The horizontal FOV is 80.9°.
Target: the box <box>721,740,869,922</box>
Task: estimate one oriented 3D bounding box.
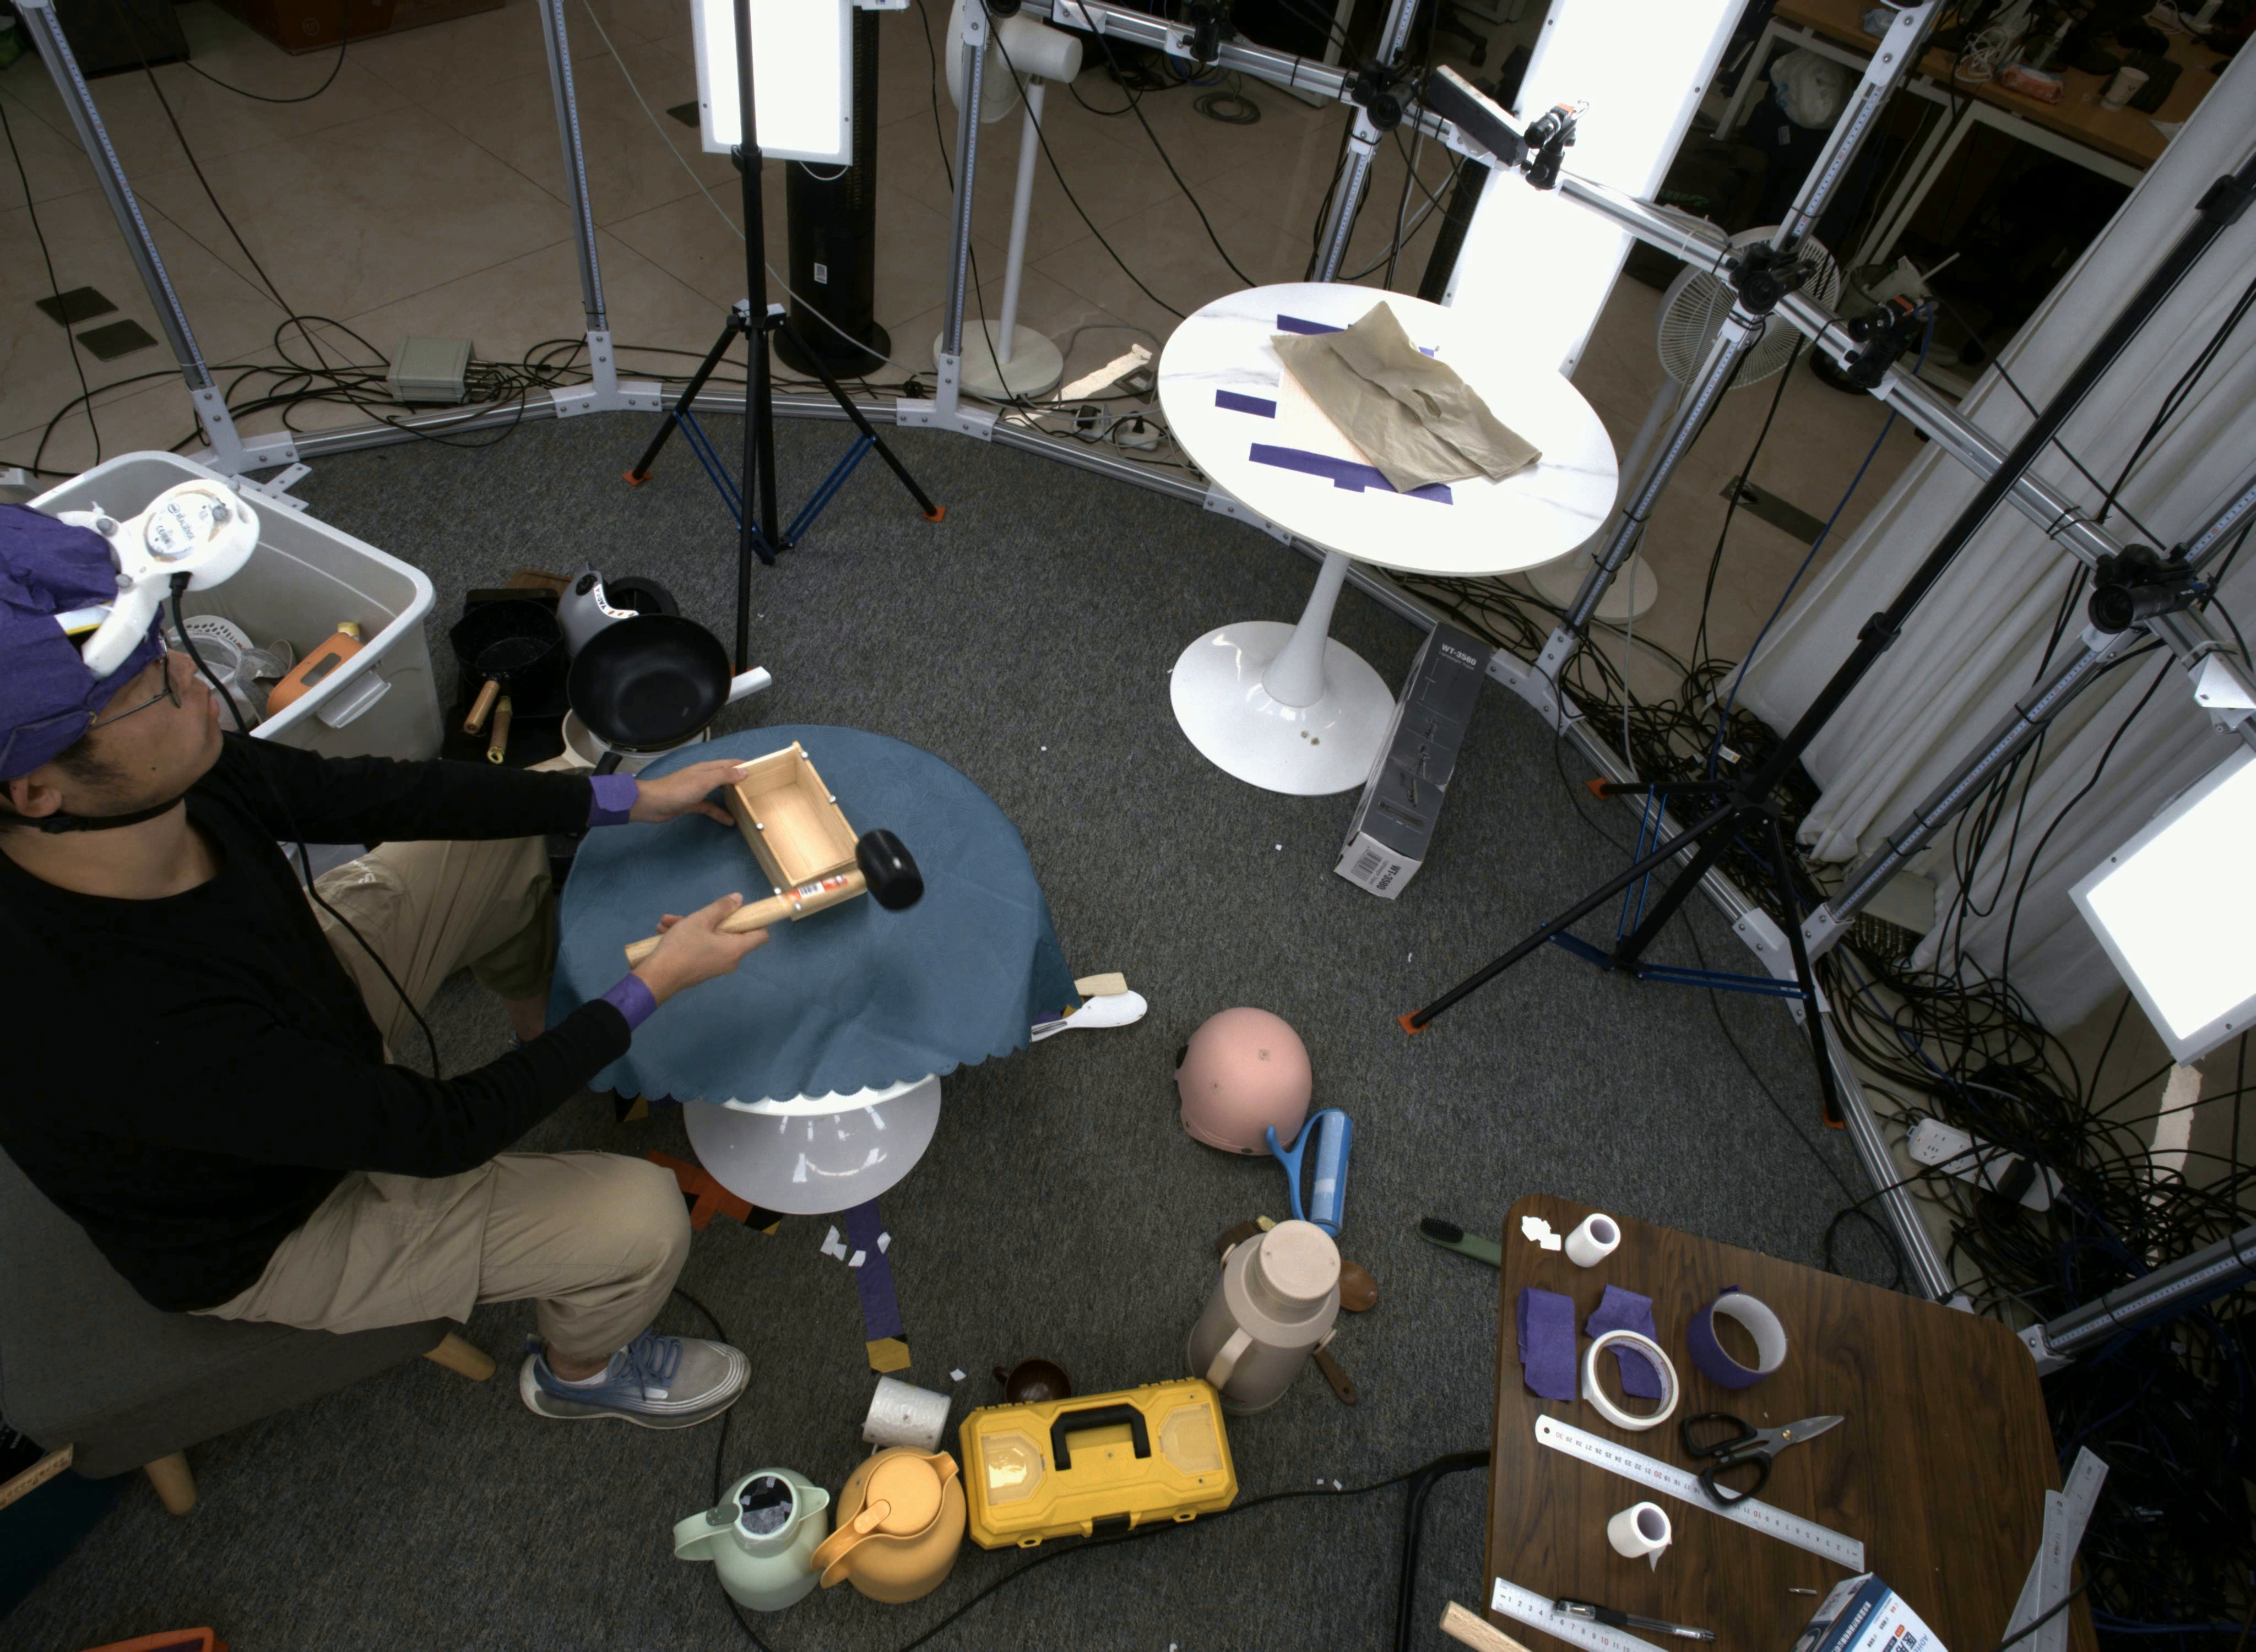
[{"bbox_3d":[-0.428,0.003,1.666,0.108,0.082,0.206,-24,63,-27],"label":"box"}]

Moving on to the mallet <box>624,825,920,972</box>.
[{"bbox_3d":[-0.406,0.083,1.469,0.340,0.066,0.098,-18,32,-21],"label":"mallet"}]
